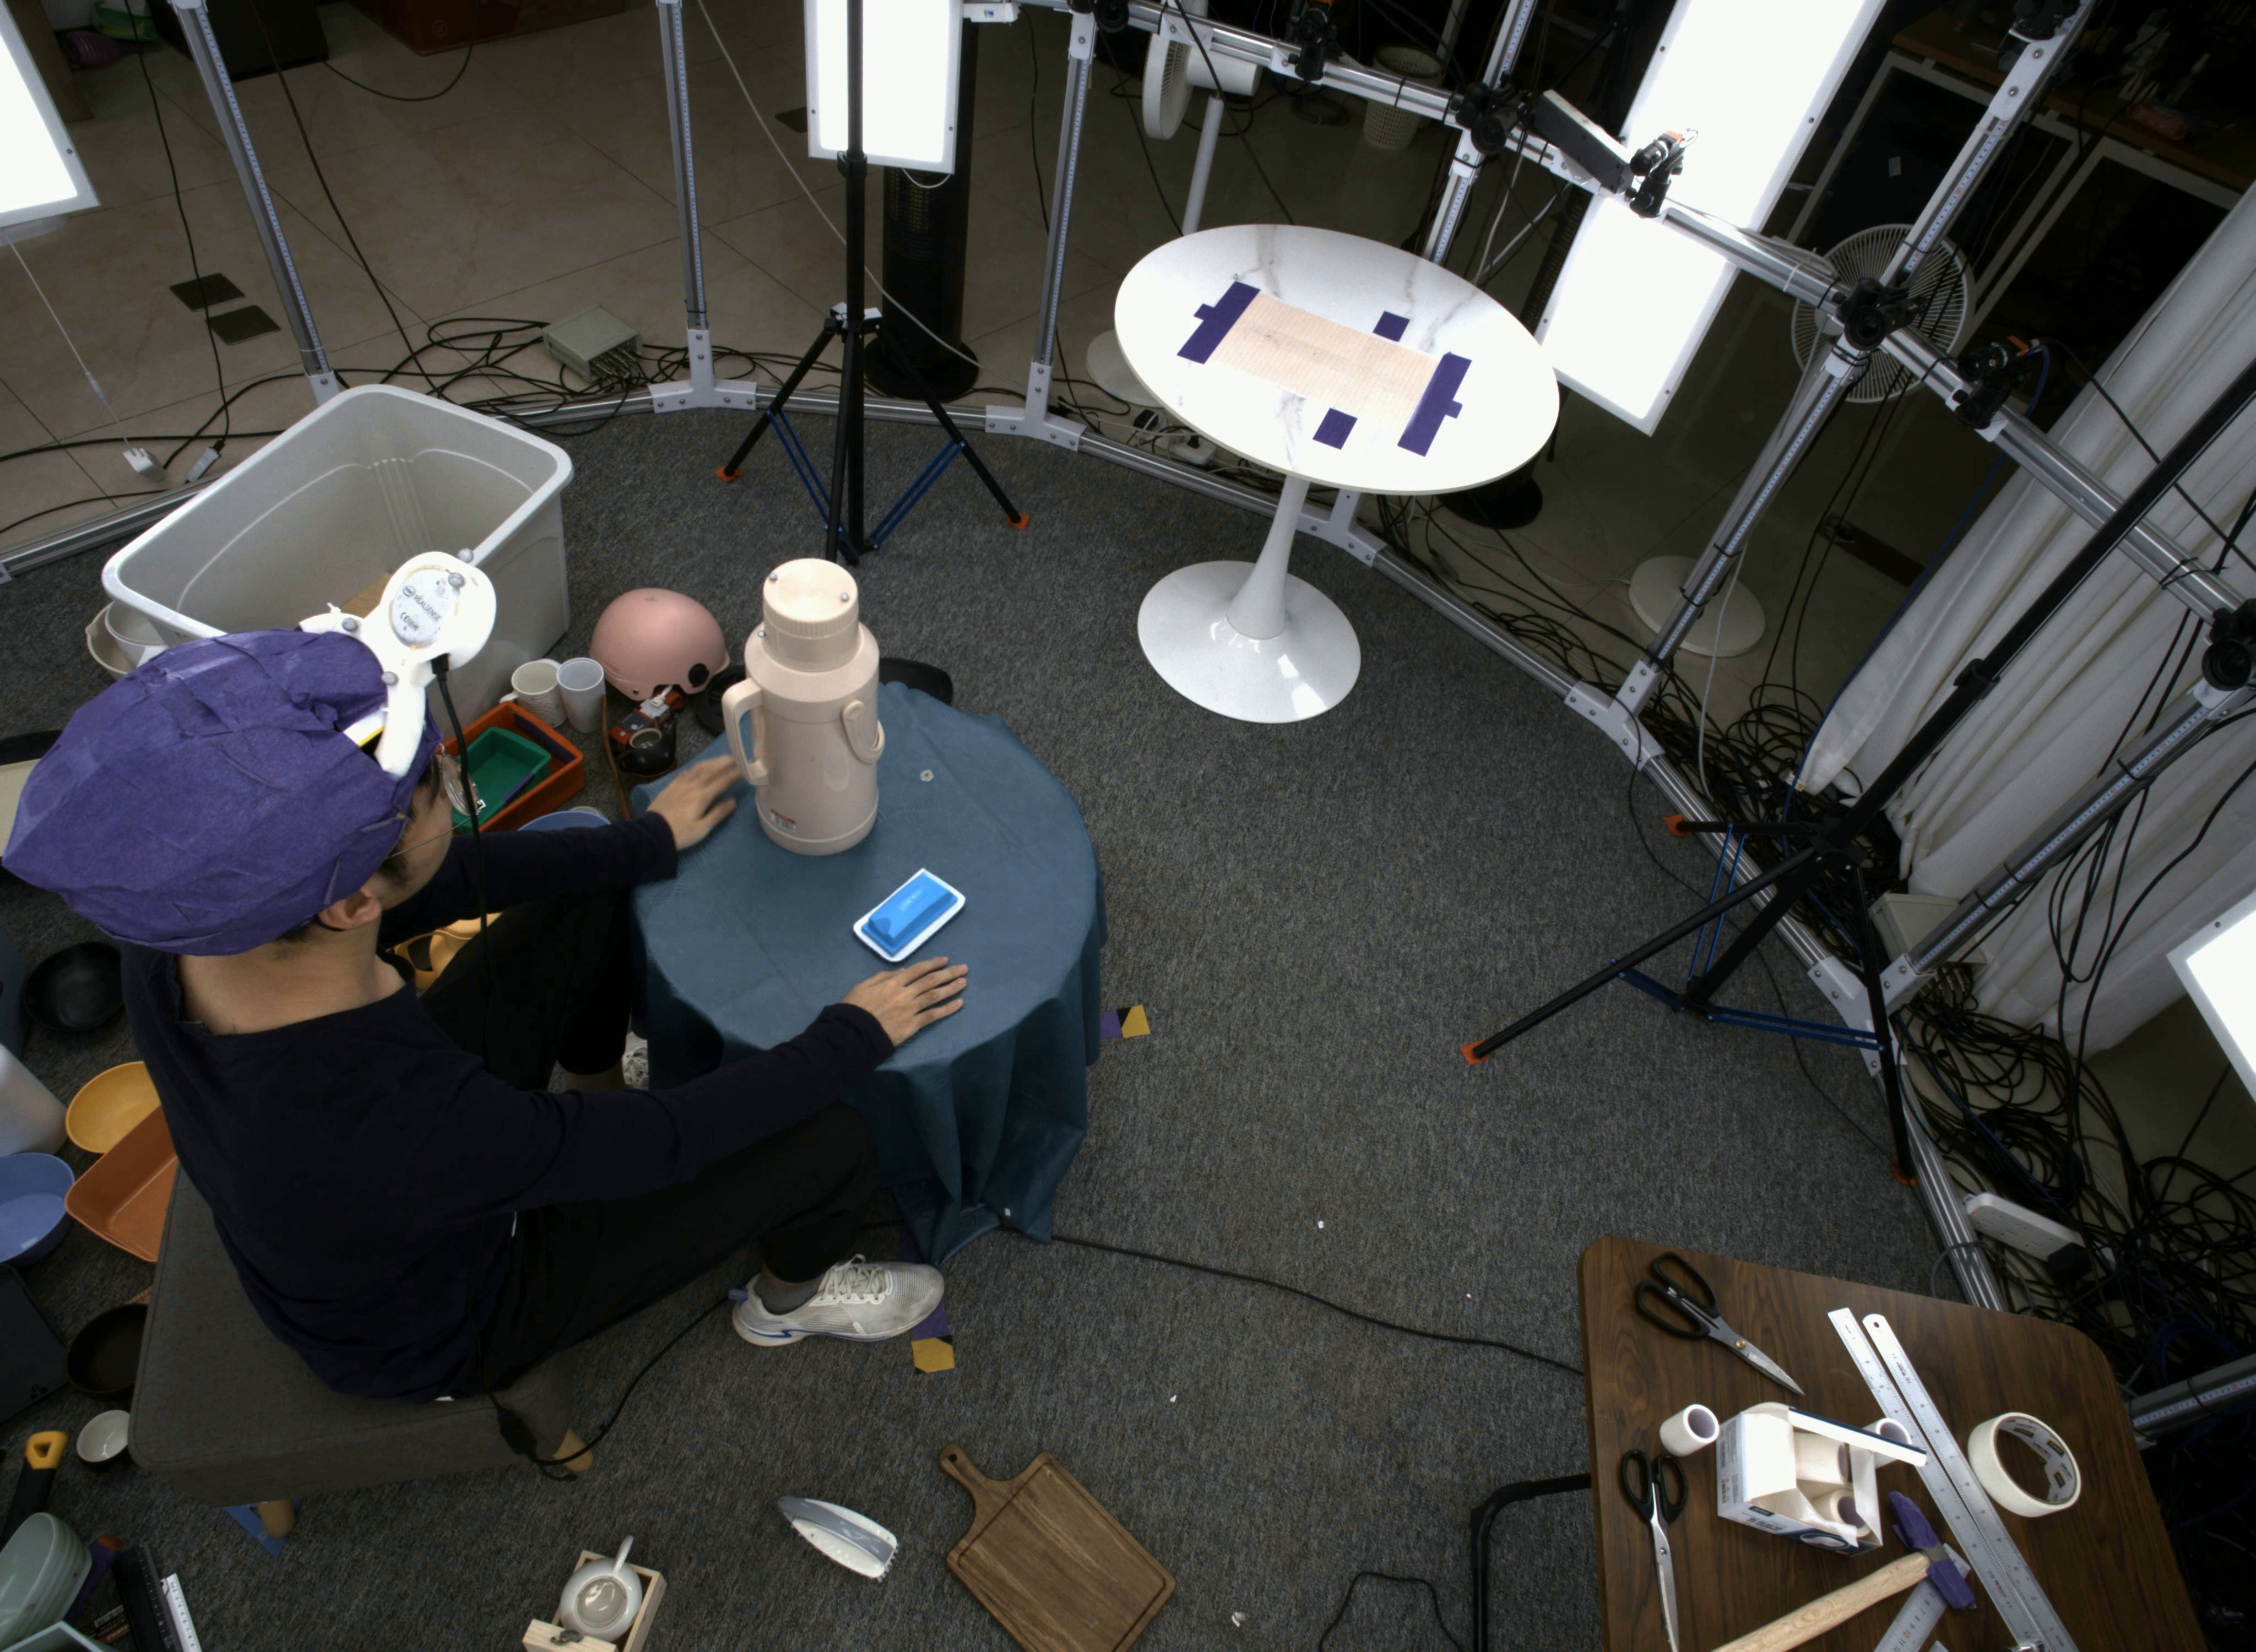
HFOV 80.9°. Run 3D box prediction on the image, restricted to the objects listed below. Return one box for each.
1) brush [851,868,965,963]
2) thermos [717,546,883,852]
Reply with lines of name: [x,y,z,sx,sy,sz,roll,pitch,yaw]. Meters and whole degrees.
brush: [-0.278,0.104,1.645,0.082,0.057,0.144,37,51,19]
thermos: [-0.400,-0.145,1.583,0.207,0.415,0.171,-34,67,-30]
